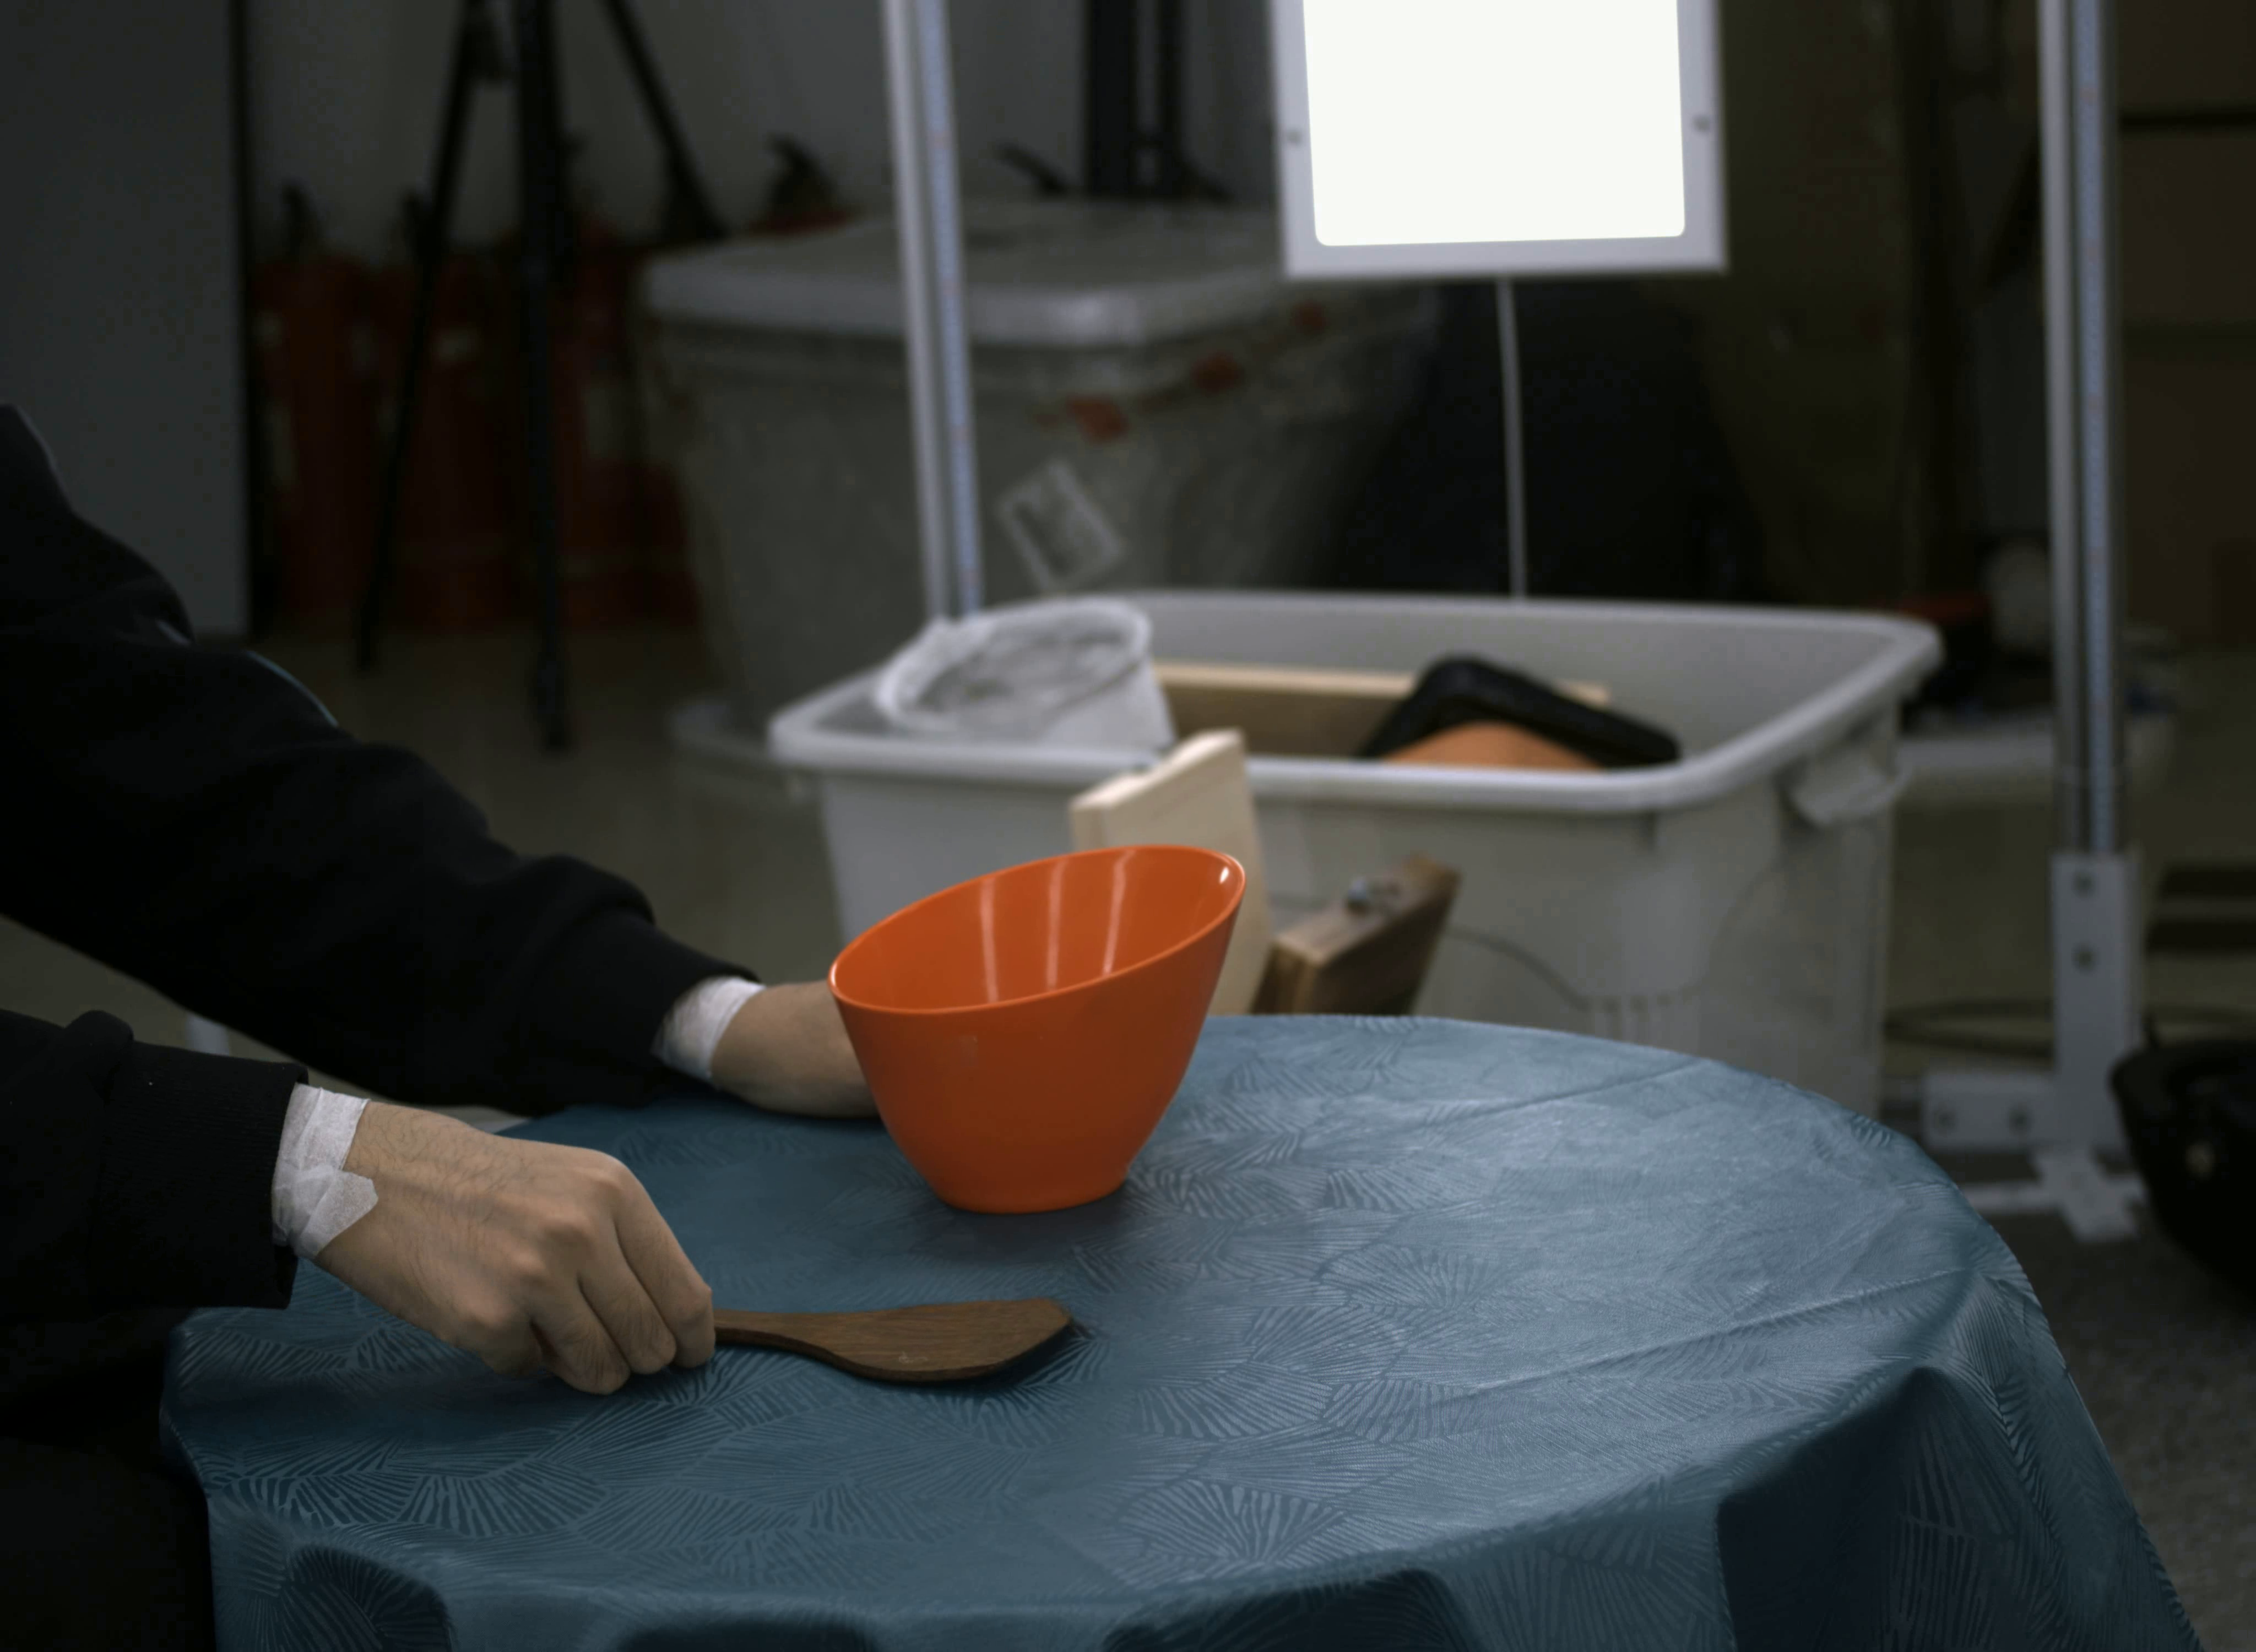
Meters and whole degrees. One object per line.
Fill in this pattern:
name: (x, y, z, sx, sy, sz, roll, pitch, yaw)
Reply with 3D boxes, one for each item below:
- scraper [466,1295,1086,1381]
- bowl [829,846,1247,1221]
scraper: (-0.117, 0.162, 1.779, 0.214, 0.011, 0.074, 1, 13, 25)
bowl: (-0.027, 0.075, 1.907, 0.147, 0.105, 0.148, -6, 16, 0)
